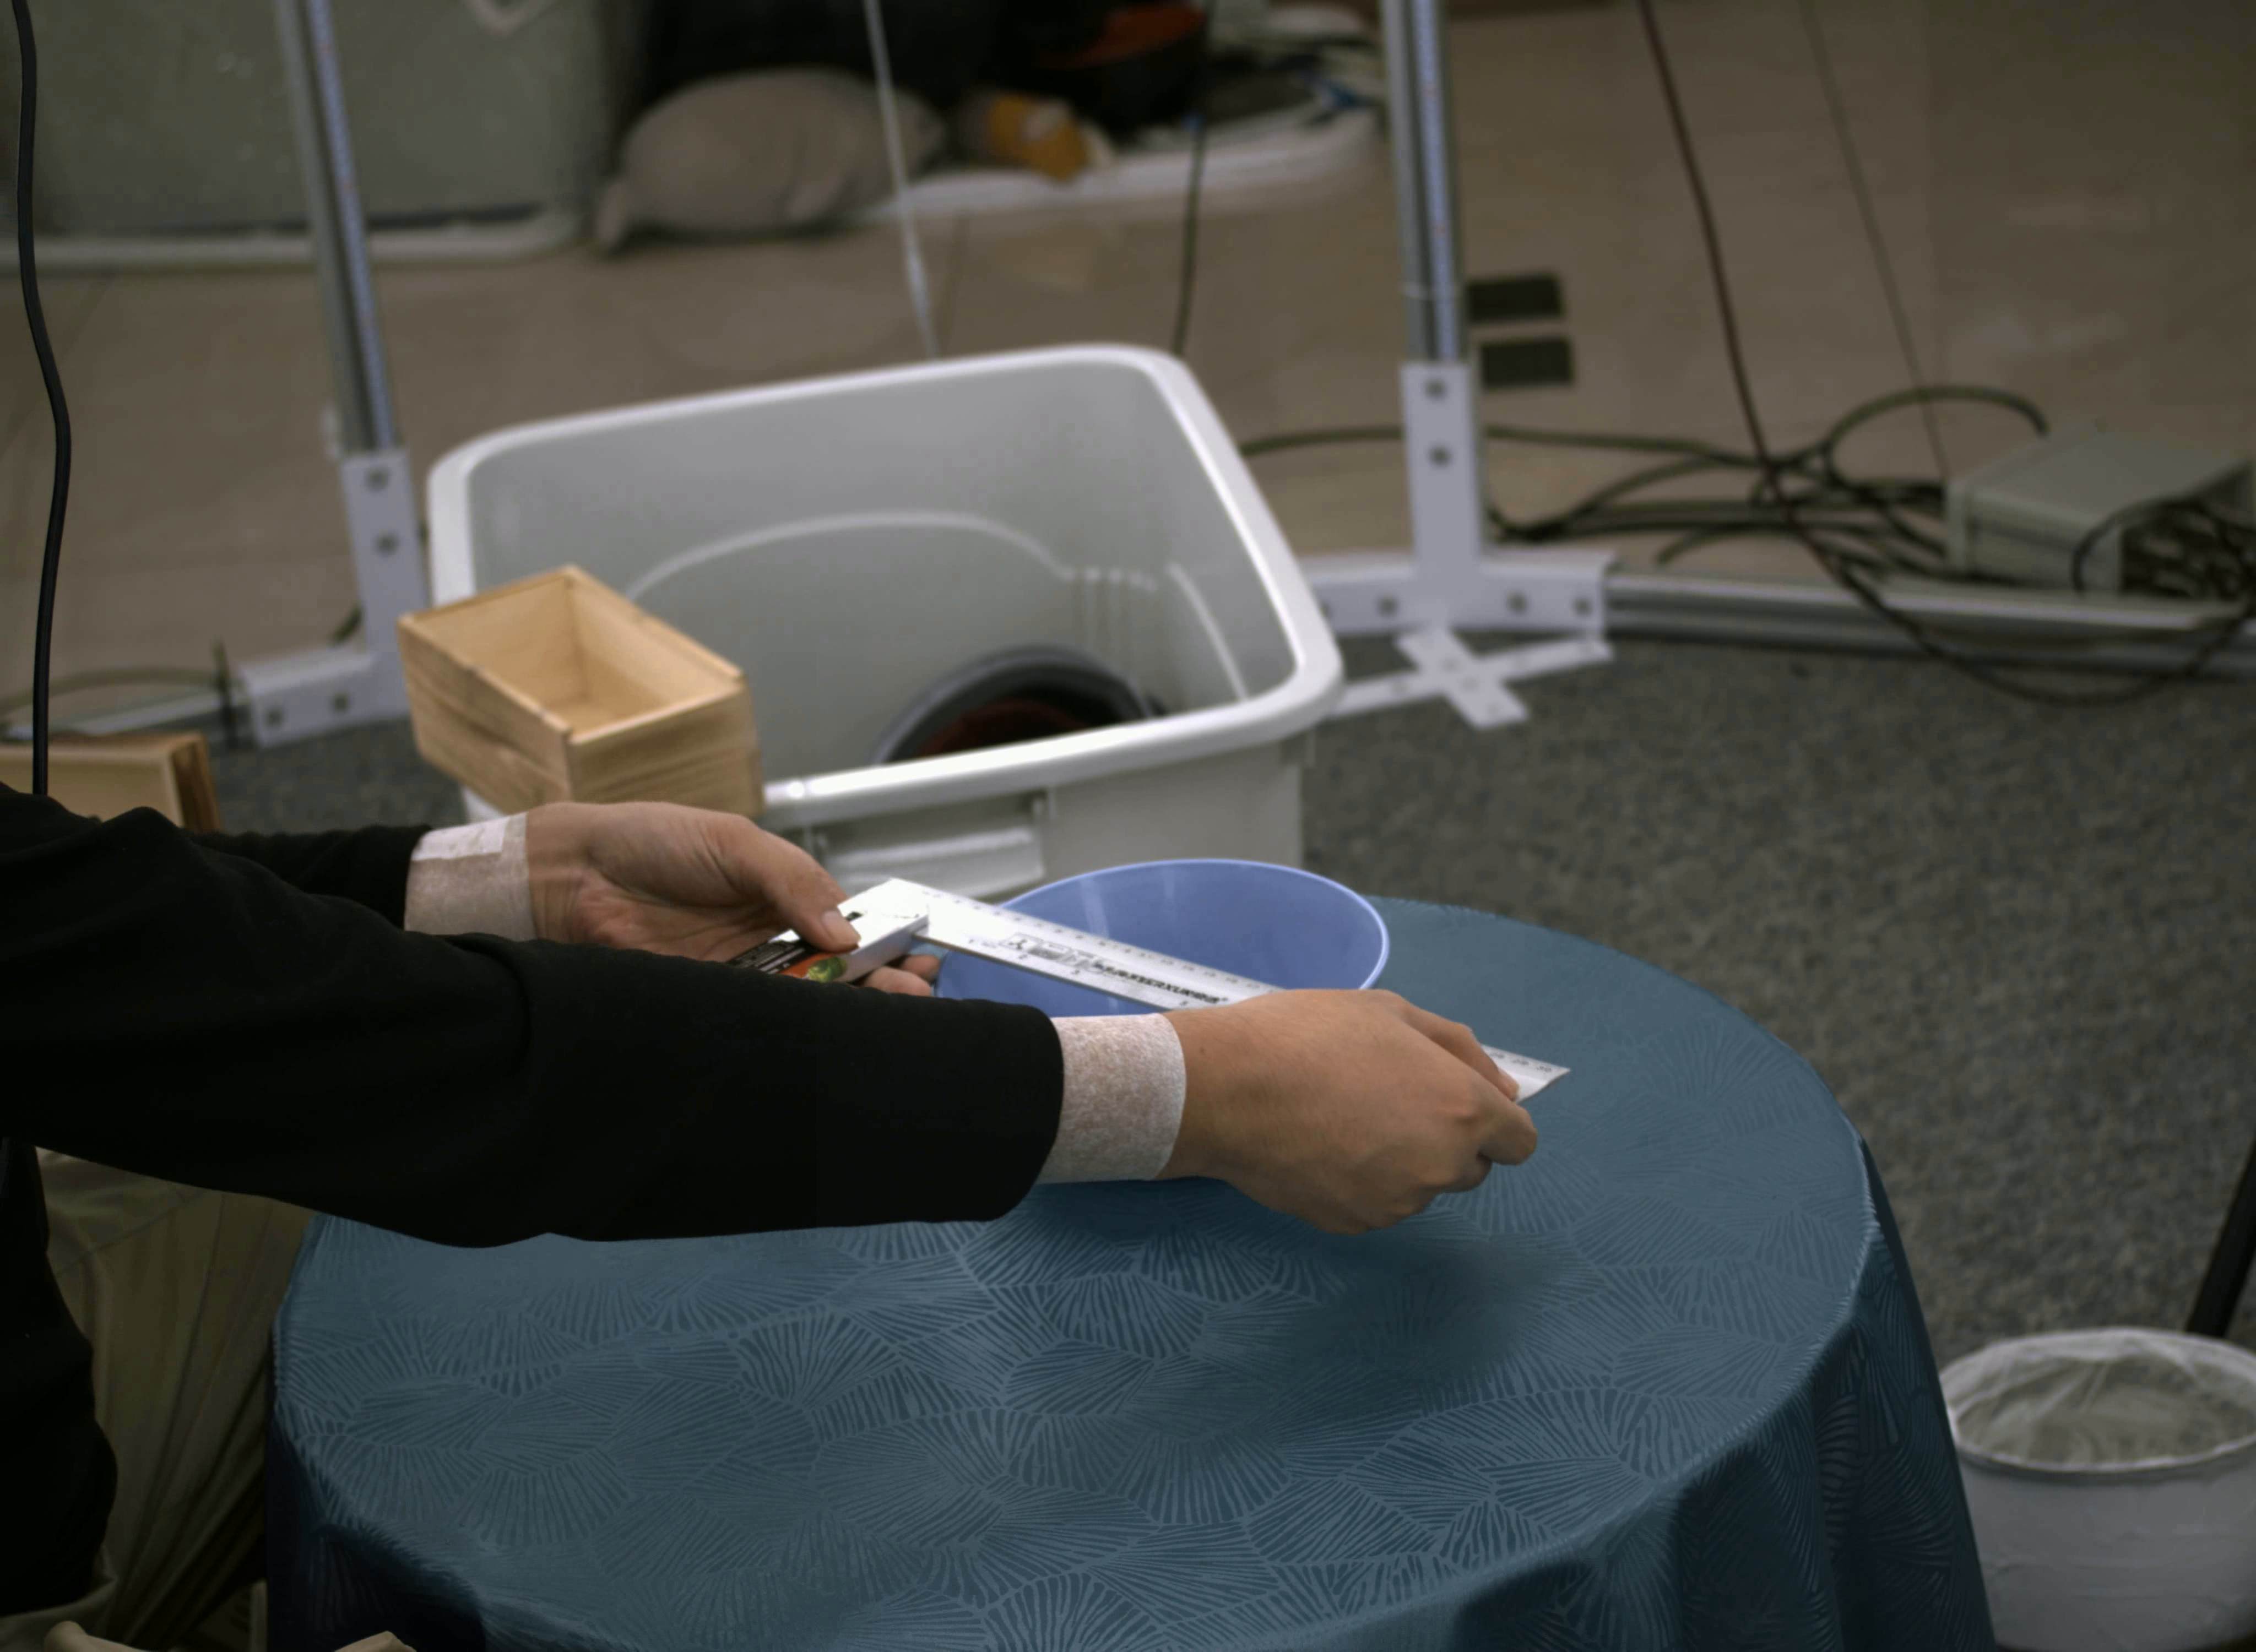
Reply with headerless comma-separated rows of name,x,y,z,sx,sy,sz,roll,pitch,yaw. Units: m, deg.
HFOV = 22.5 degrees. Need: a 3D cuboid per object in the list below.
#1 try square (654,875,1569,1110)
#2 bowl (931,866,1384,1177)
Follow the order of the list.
try square,-0.009,0.080,2.087,0.311,0.016,0.151,15,30,34
bowl,0.014,0.081,2.187,0.176,0.071,0.173,-5,25,2
